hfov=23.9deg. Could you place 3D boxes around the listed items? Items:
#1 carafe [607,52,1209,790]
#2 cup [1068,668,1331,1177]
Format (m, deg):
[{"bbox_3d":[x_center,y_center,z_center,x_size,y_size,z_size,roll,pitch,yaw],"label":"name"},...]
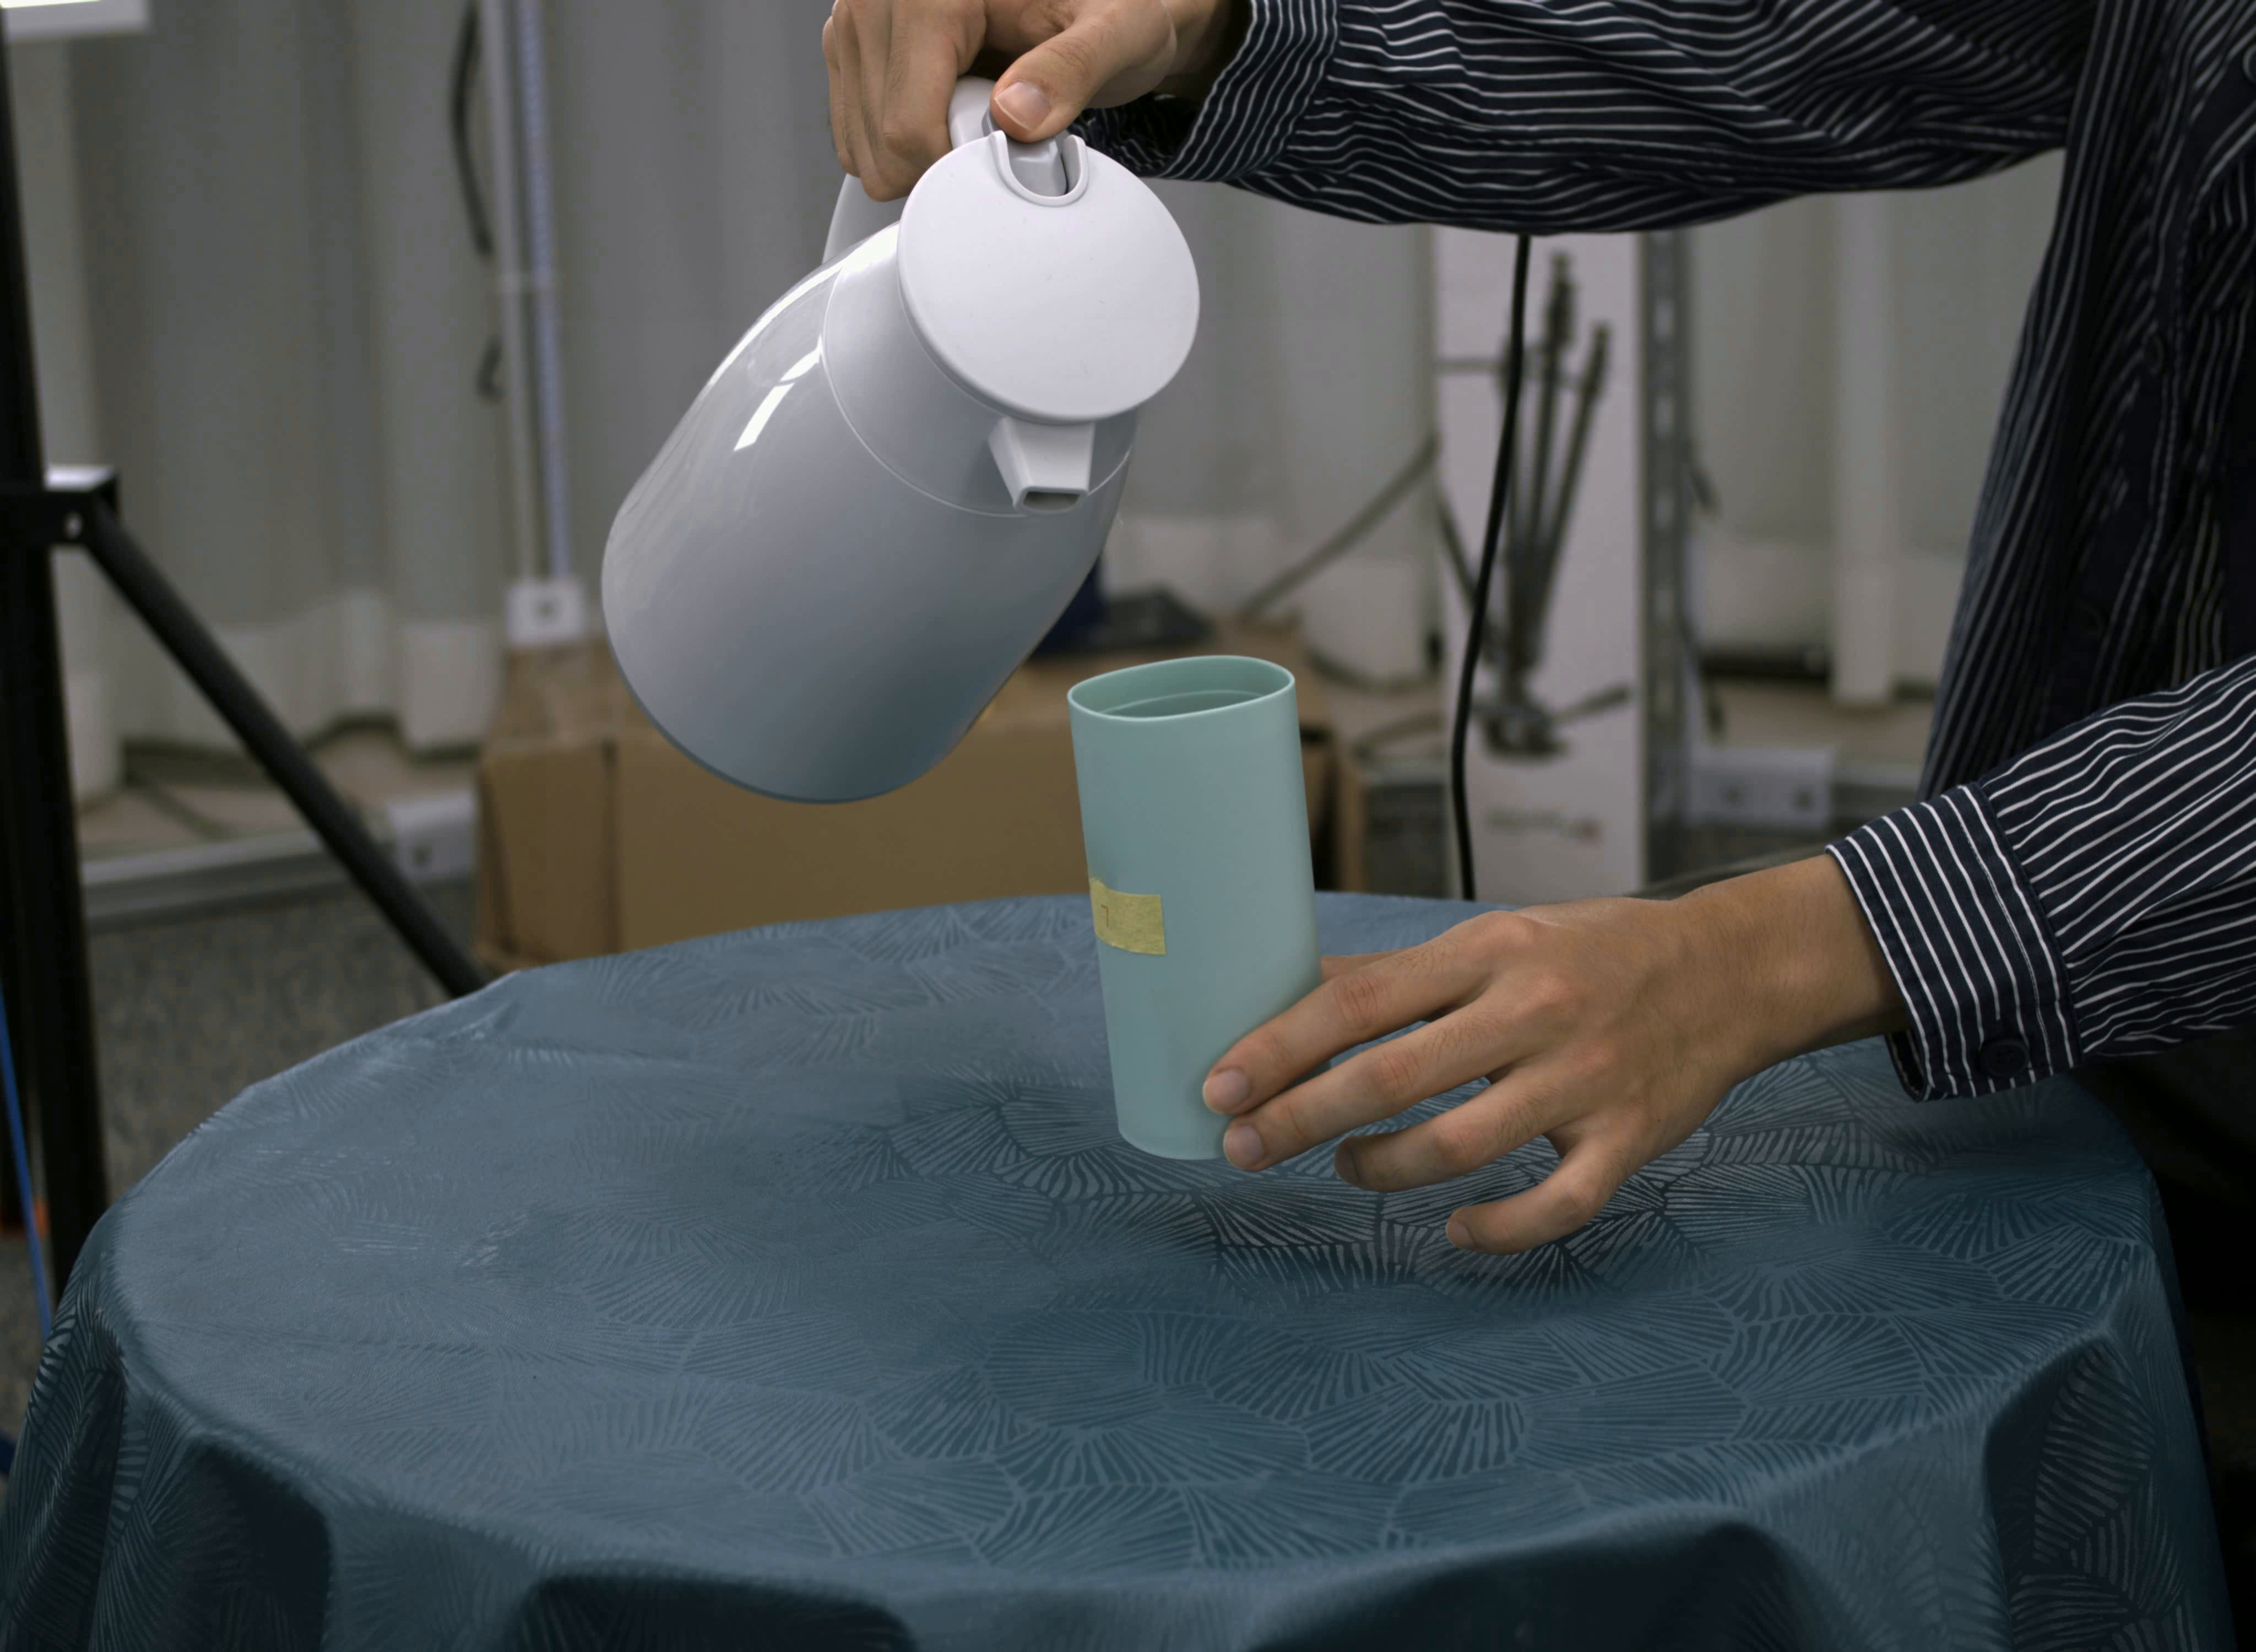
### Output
[{"bbox_3d":[-0.064,-0.135,1.611,0.130,0.170,0.250,-1,-22,-22],"label":"carafe"},{"bbox_3d":[0.023,0.026,1.511,0.066,0.132,0.067,-6,15,0],"label":"cup"}]
